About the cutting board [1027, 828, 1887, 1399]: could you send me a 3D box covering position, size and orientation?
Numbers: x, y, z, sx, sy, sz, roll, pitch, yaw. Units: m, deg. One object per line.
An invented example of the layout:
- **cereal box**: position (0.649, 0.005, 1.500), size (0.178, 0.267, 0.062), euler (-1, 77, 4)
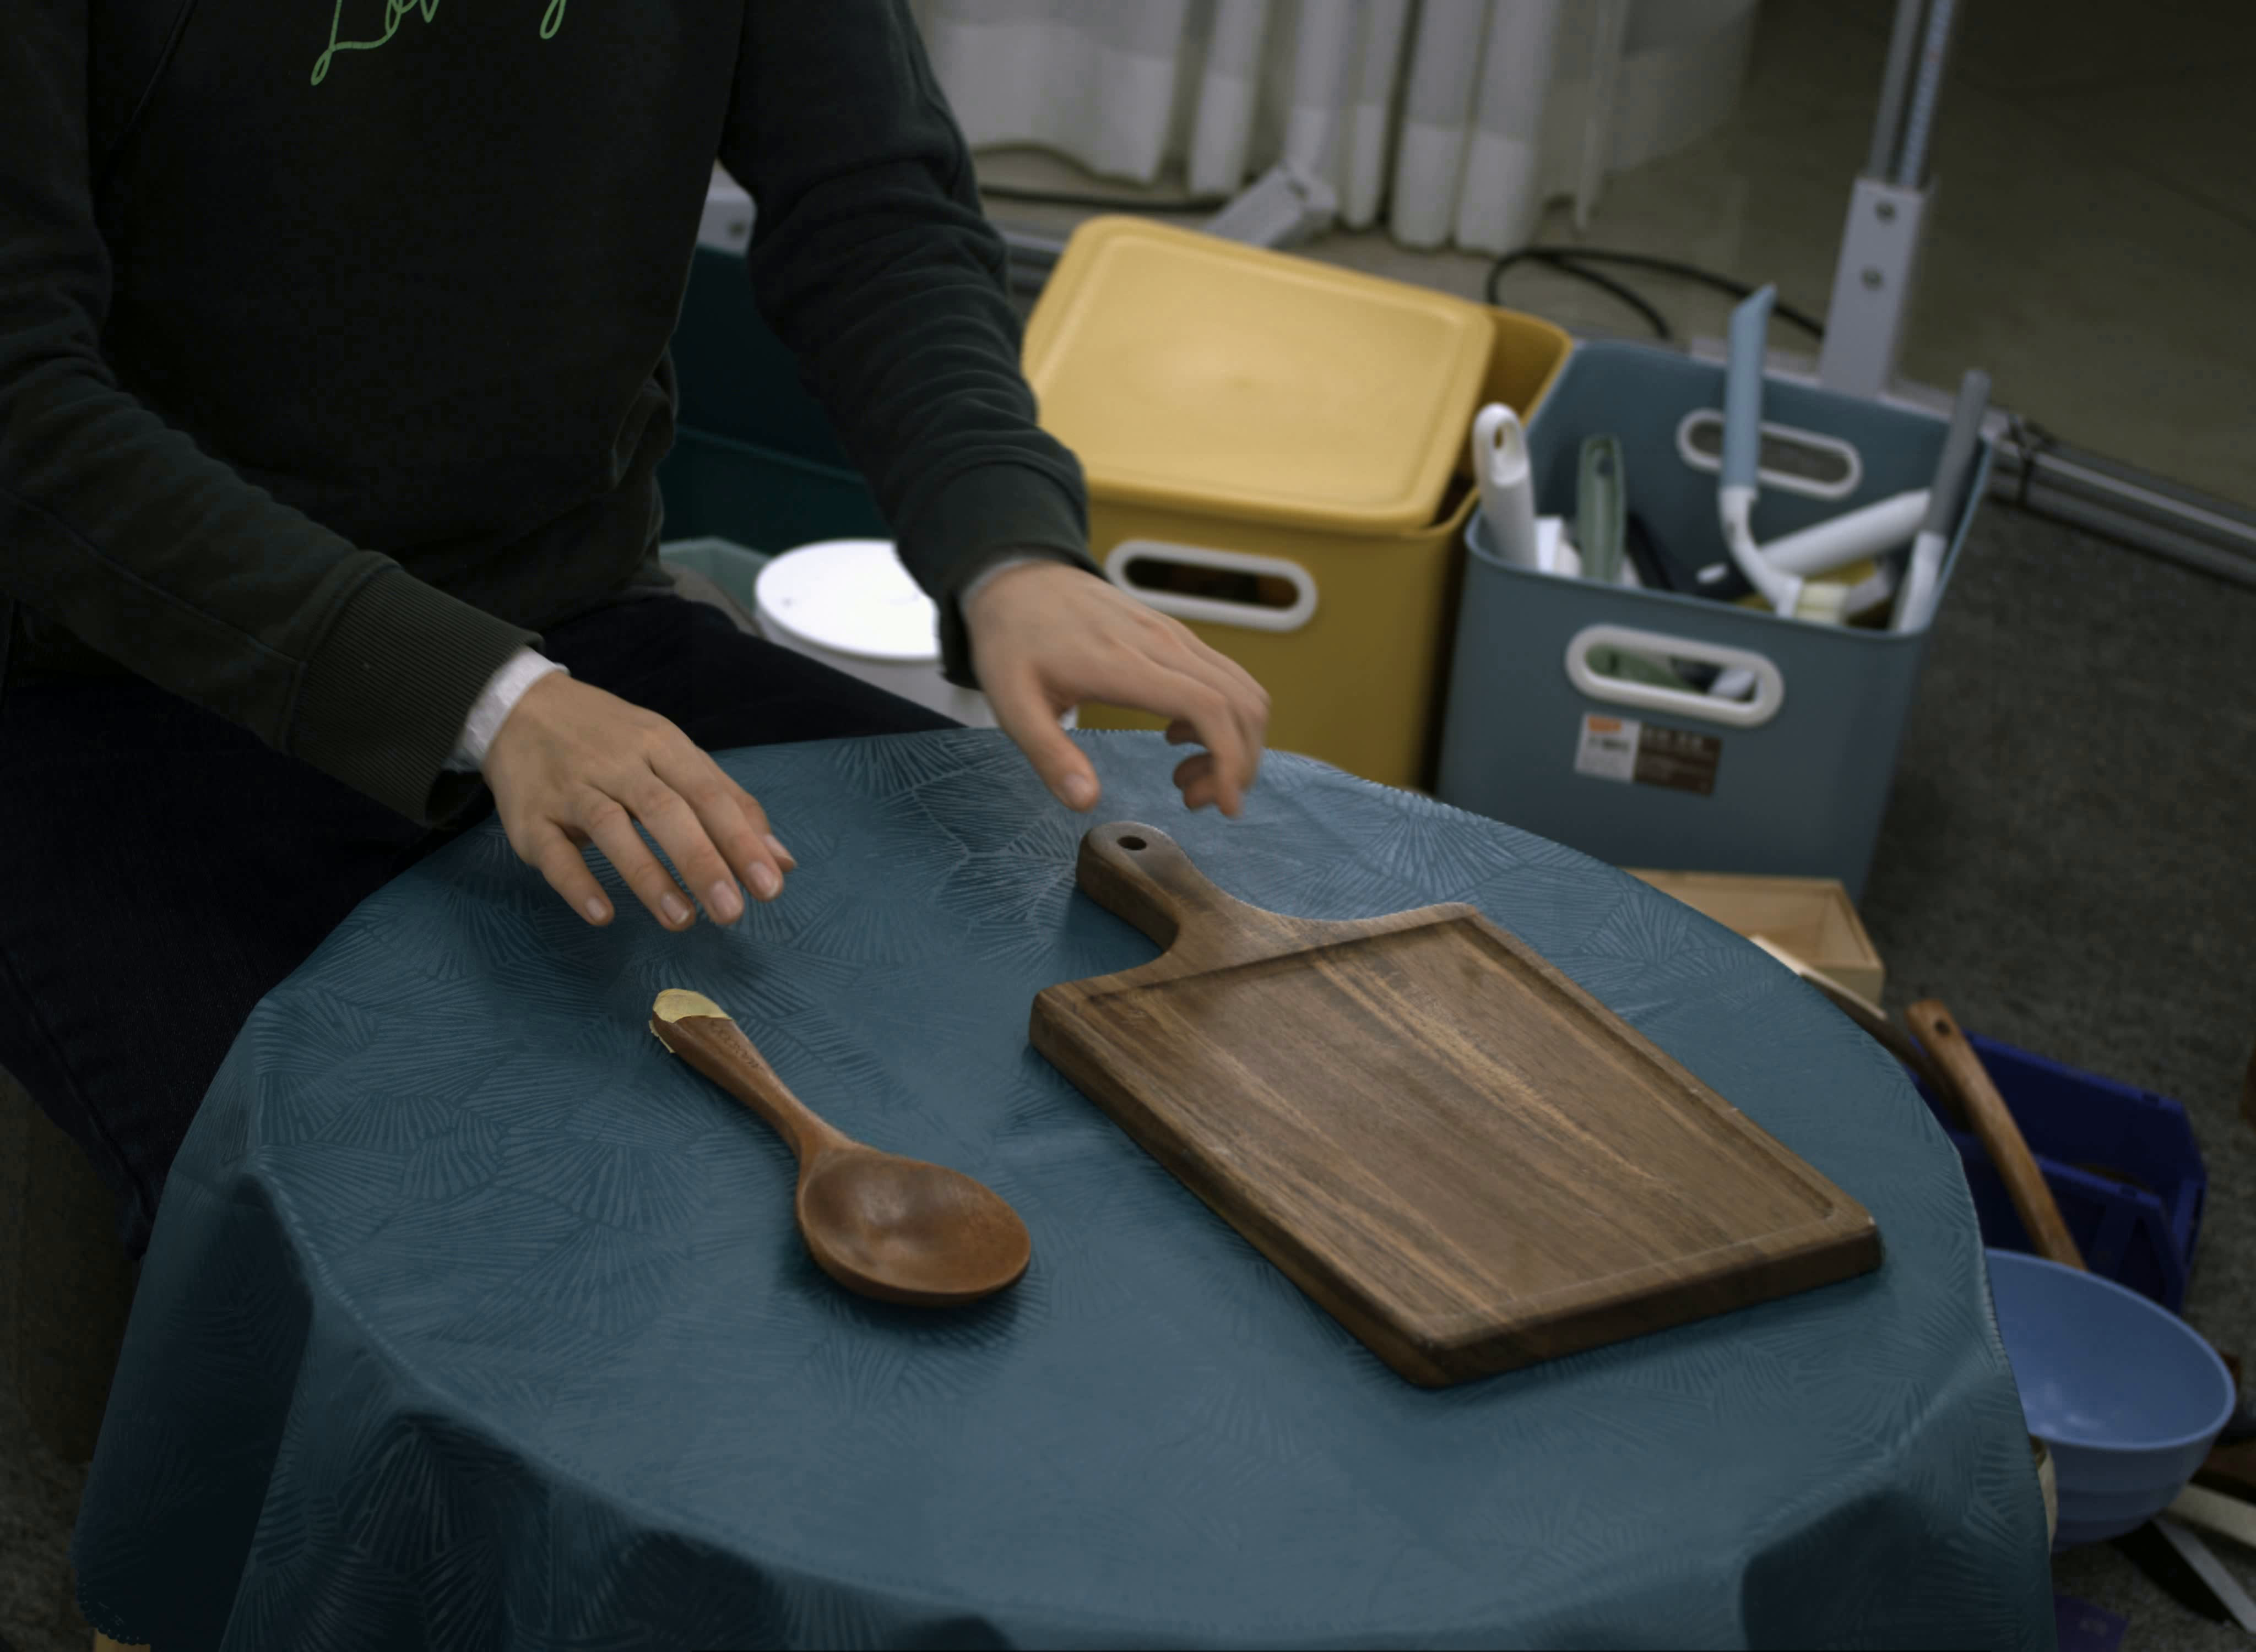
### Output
- **cutting board**: position (0.084, 0.085, 1.877), size (0.200, 0.023, 0.355), euler (-12, 32, -30)

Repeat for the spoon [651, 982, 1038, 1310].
- **spoon**: position (-0.103, 0.108, 1.789), size (0.075, 0.017, 0.218), euler (-12, 33, -30)
